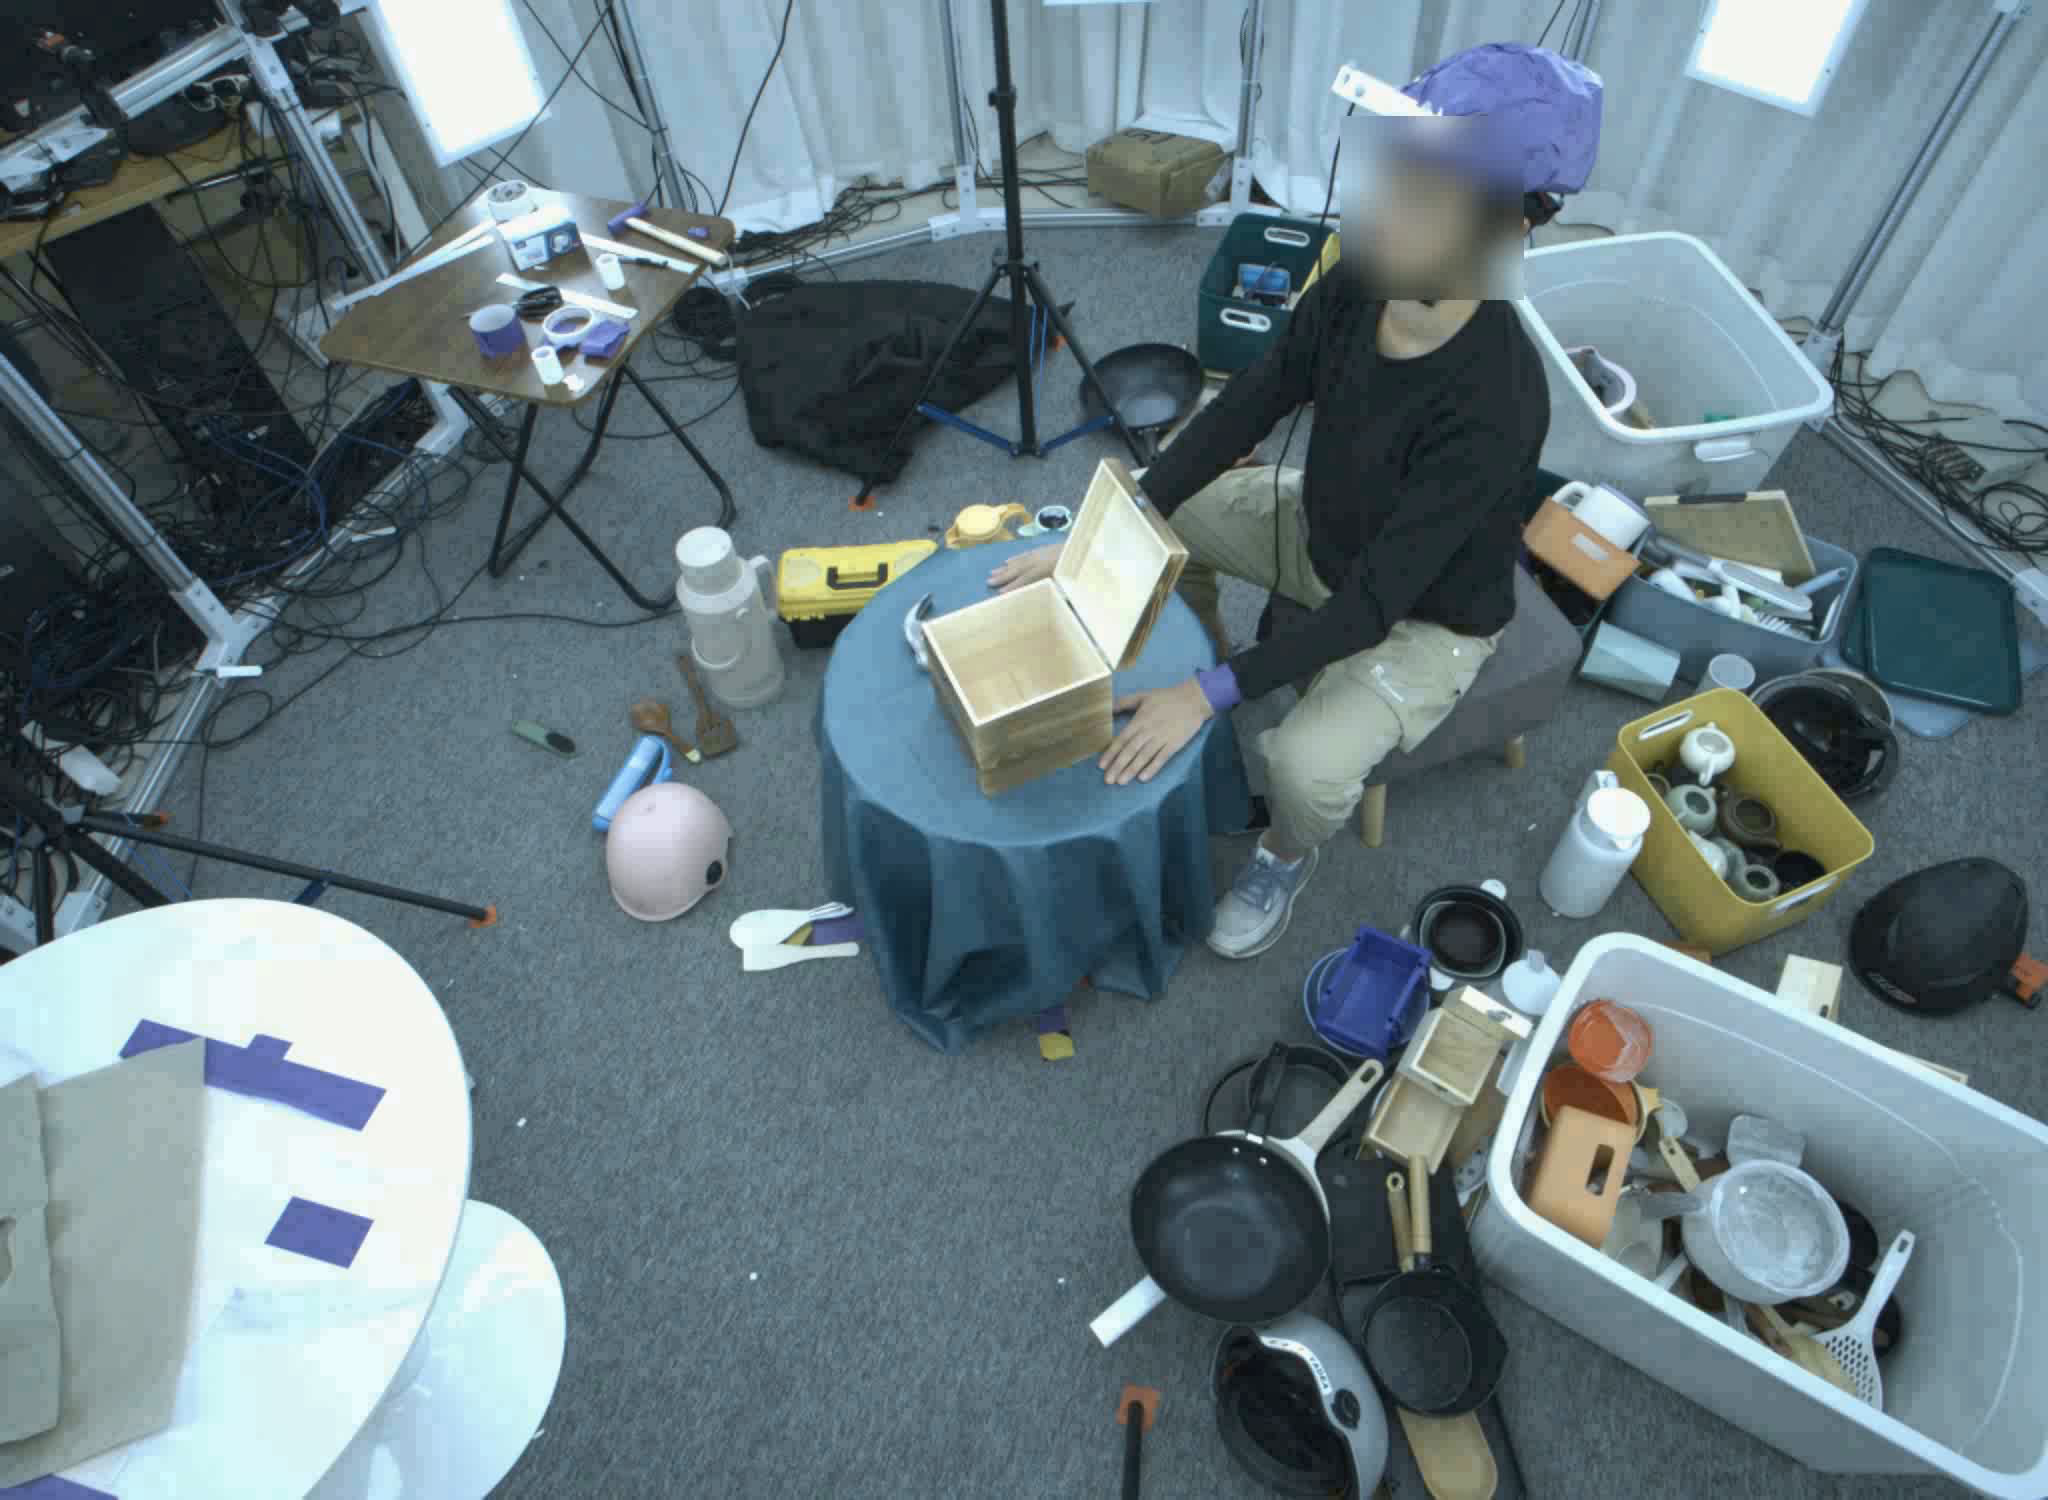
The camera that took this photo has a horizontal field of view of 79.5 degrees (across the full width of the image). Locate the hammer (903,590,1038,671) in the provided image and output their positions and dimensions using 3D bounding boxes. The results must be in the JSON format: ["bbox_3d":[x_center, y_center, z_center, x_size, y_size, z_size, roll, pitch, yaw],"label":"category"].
[{"bbox_3d":[-0.024,-0.222,1.921,0.340,0.032,0.129,-16,56,-9],"label":"hammer"}]

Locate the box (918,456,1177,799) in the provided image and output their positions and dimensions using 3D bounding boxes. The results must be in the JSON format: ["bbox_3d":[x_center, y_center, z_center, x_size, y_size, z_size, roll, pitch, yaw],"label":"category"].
[{"bbox_3d":[0.030,-0.166,1.678,0.324,0.379,0.205,-22,55,-12],"label":"box"}]
